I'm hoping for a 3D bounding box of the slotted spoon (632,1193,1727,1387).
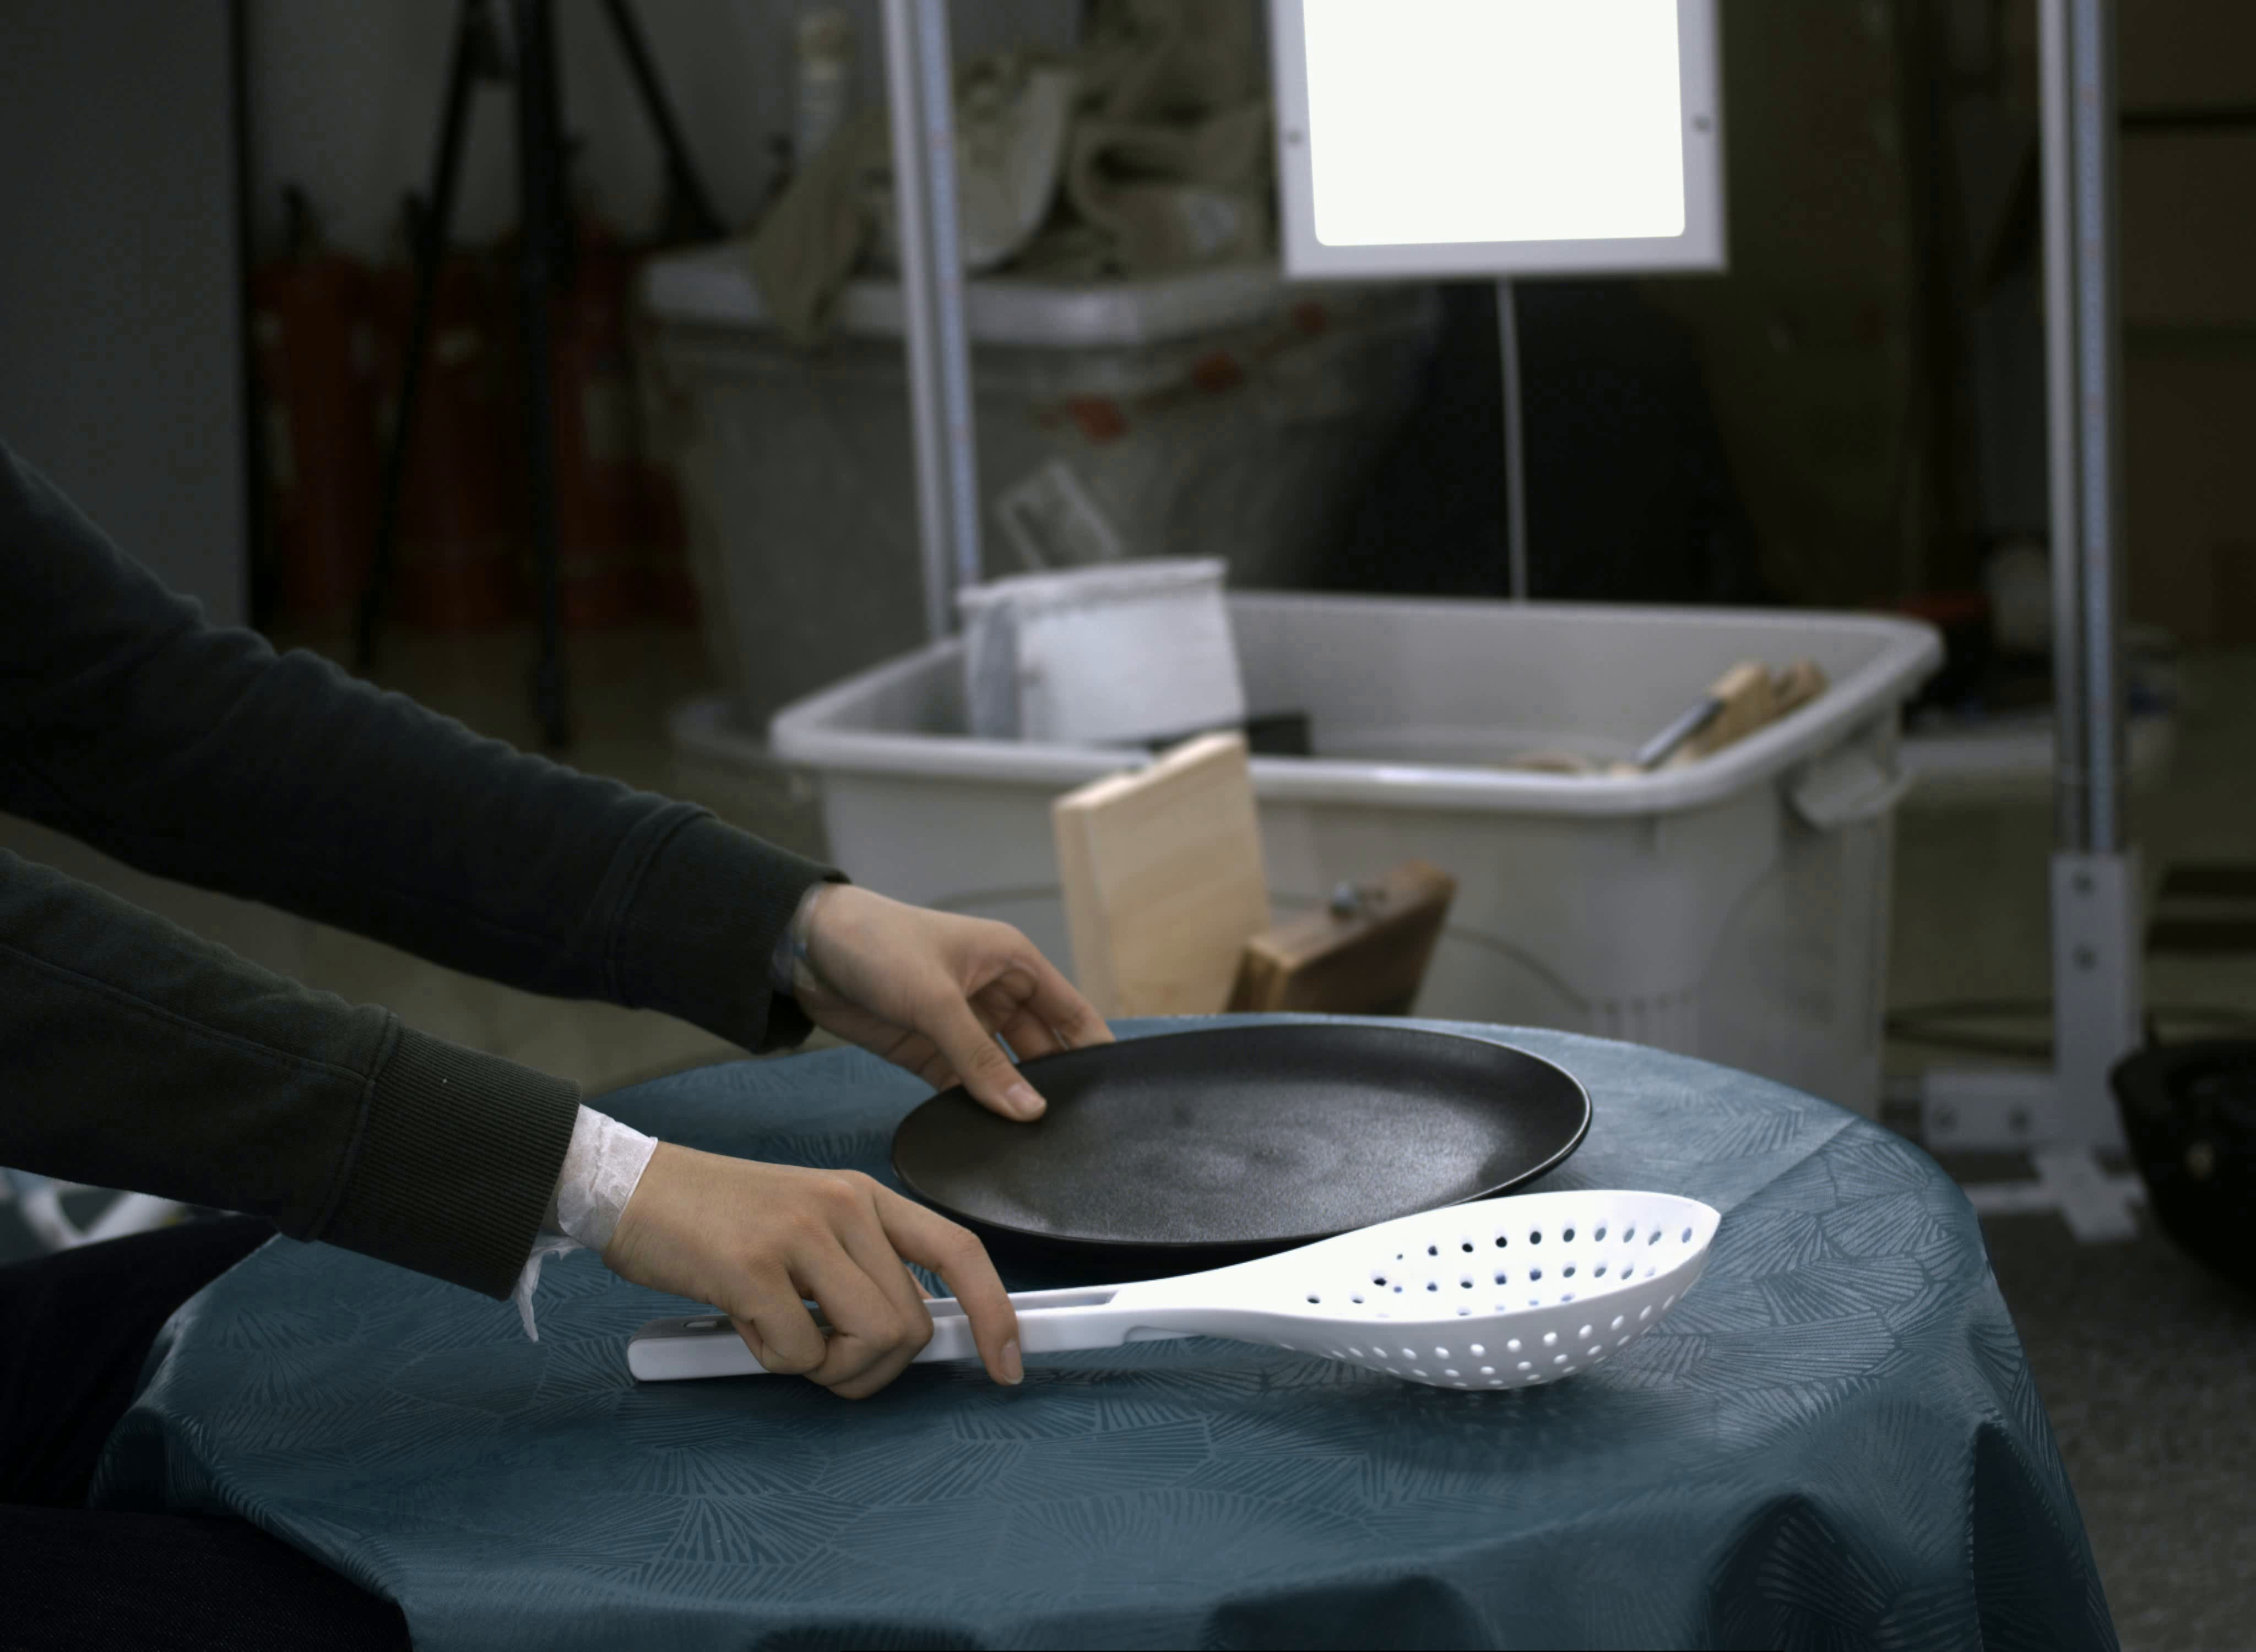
[{"bbox_3d":[0.013,0.149,1.706,0.353,0.046,0.134,-2,10,16],"label":"slotted spoon"}]

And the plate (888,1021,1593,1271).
[{"bbox_3d":[0.039,0.112,1.889,0.244,0.023,0.244,-5,14,0],"label":"plate"}]
